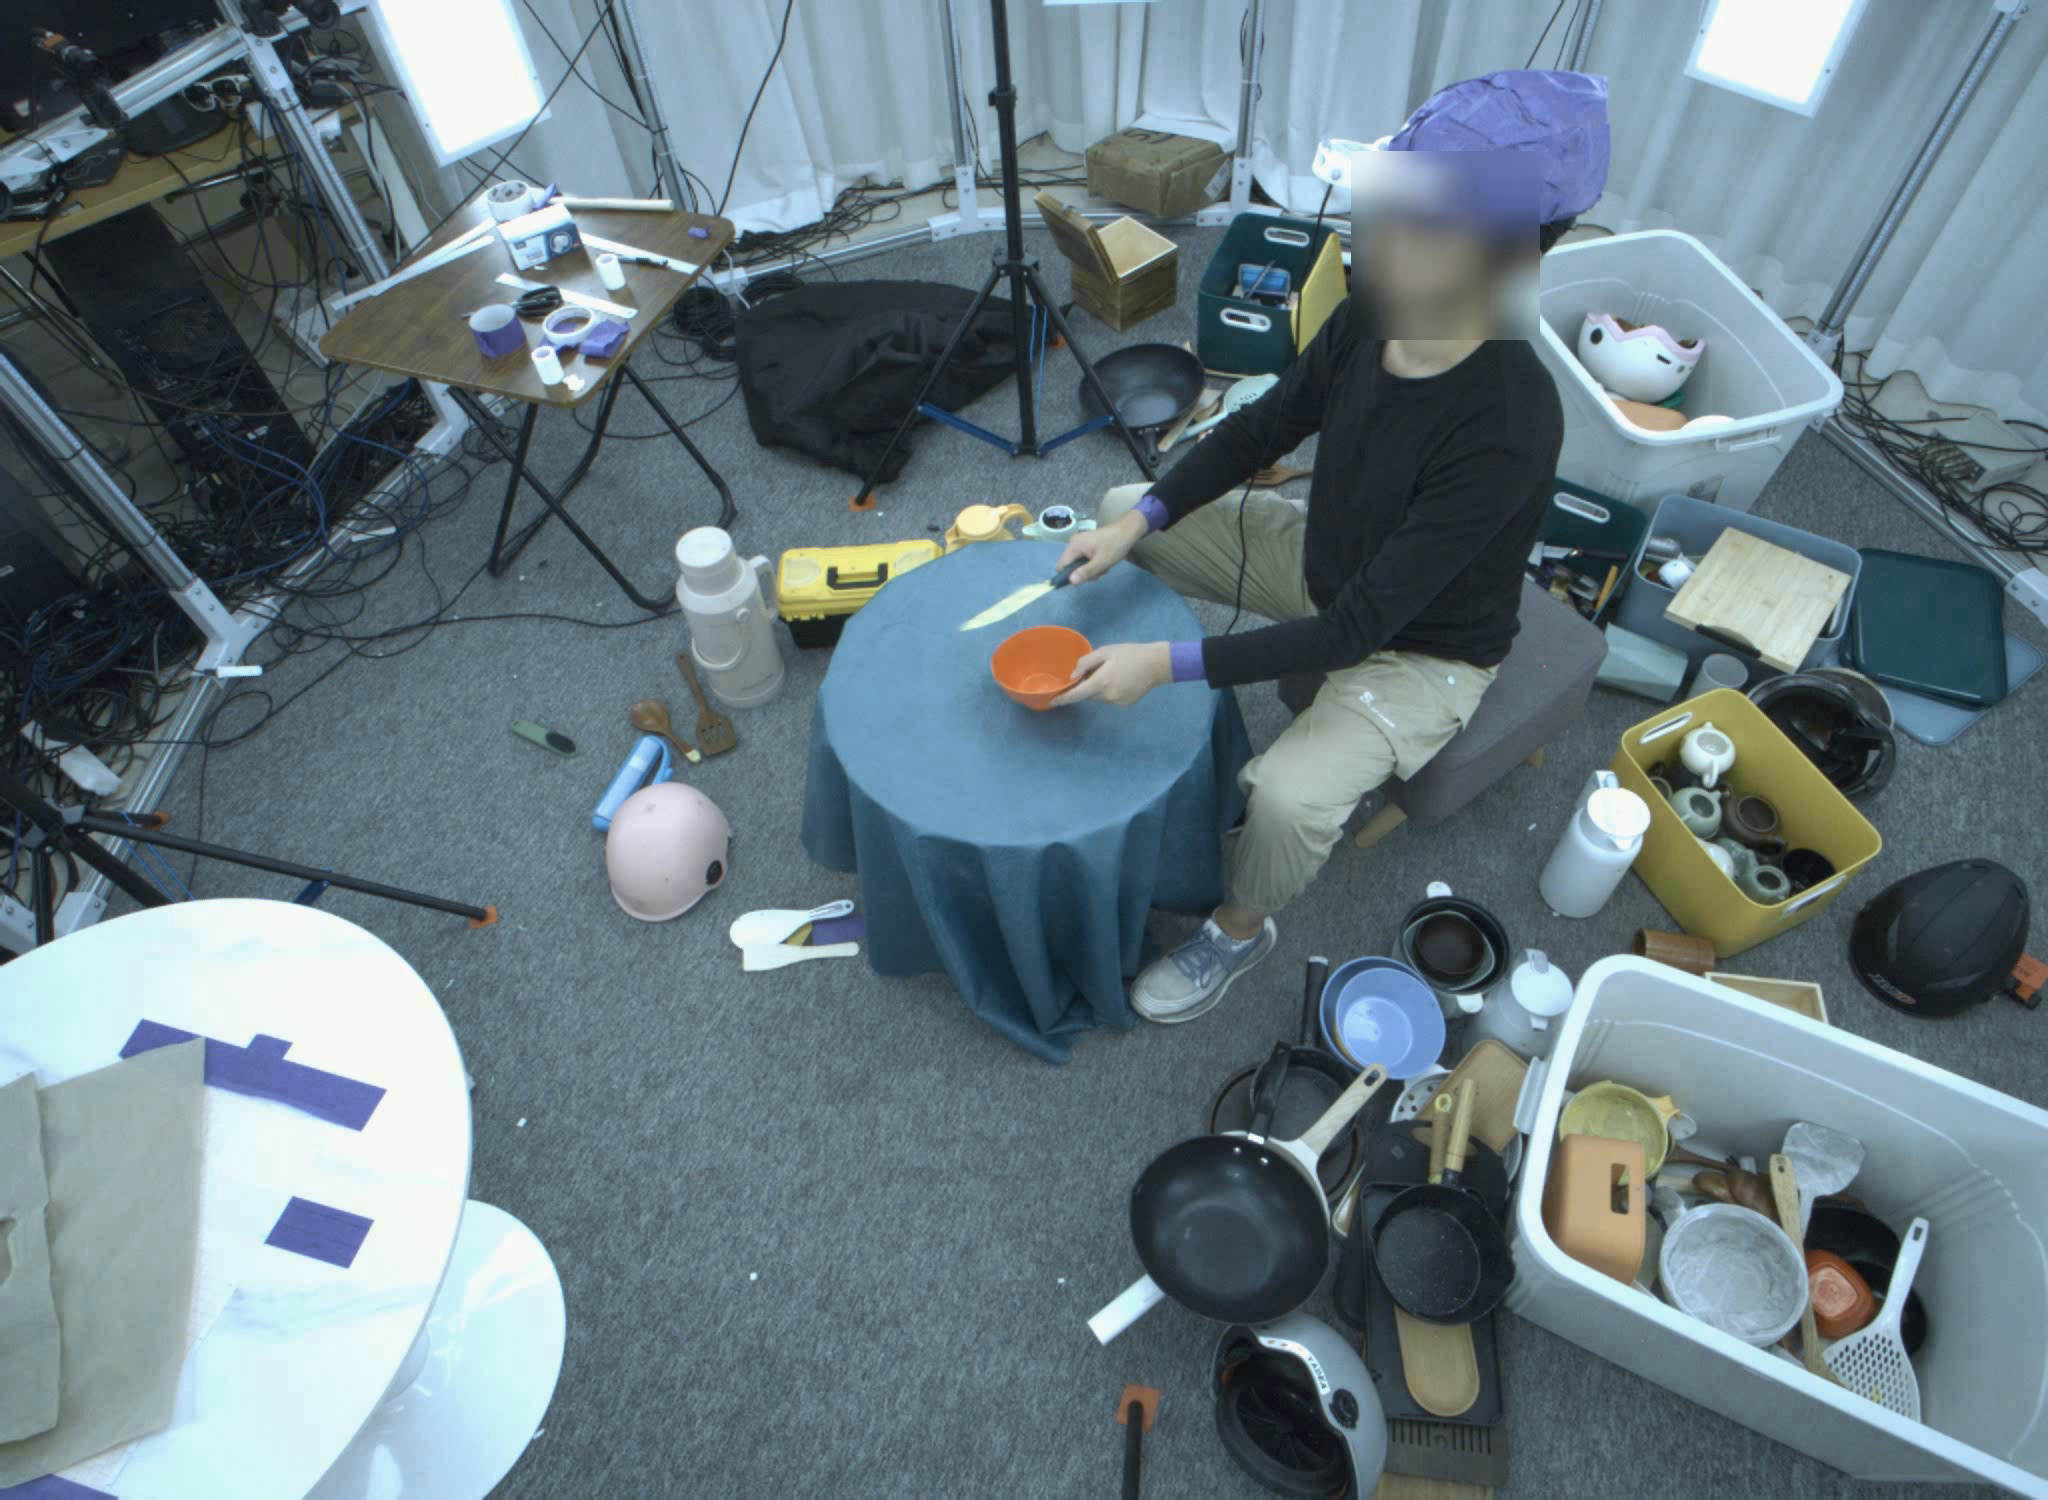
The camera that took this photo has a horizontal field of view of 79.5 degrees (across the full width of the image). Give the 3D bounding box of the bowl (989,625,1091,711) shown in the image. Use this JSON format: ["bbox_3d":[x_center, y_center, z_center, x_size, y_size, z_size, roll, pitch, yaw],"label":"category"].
[{"bbox_3d":[0.026,-0.106,1.795,0.148,0.106,0.146,-2,54,3],"label":"bowl"}]

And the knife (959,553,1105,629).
[{"bbox_3d":[0.012,-0.238,1.848,0.293,0.027,0.079,-31,27,-33],"label":"knife"}]
